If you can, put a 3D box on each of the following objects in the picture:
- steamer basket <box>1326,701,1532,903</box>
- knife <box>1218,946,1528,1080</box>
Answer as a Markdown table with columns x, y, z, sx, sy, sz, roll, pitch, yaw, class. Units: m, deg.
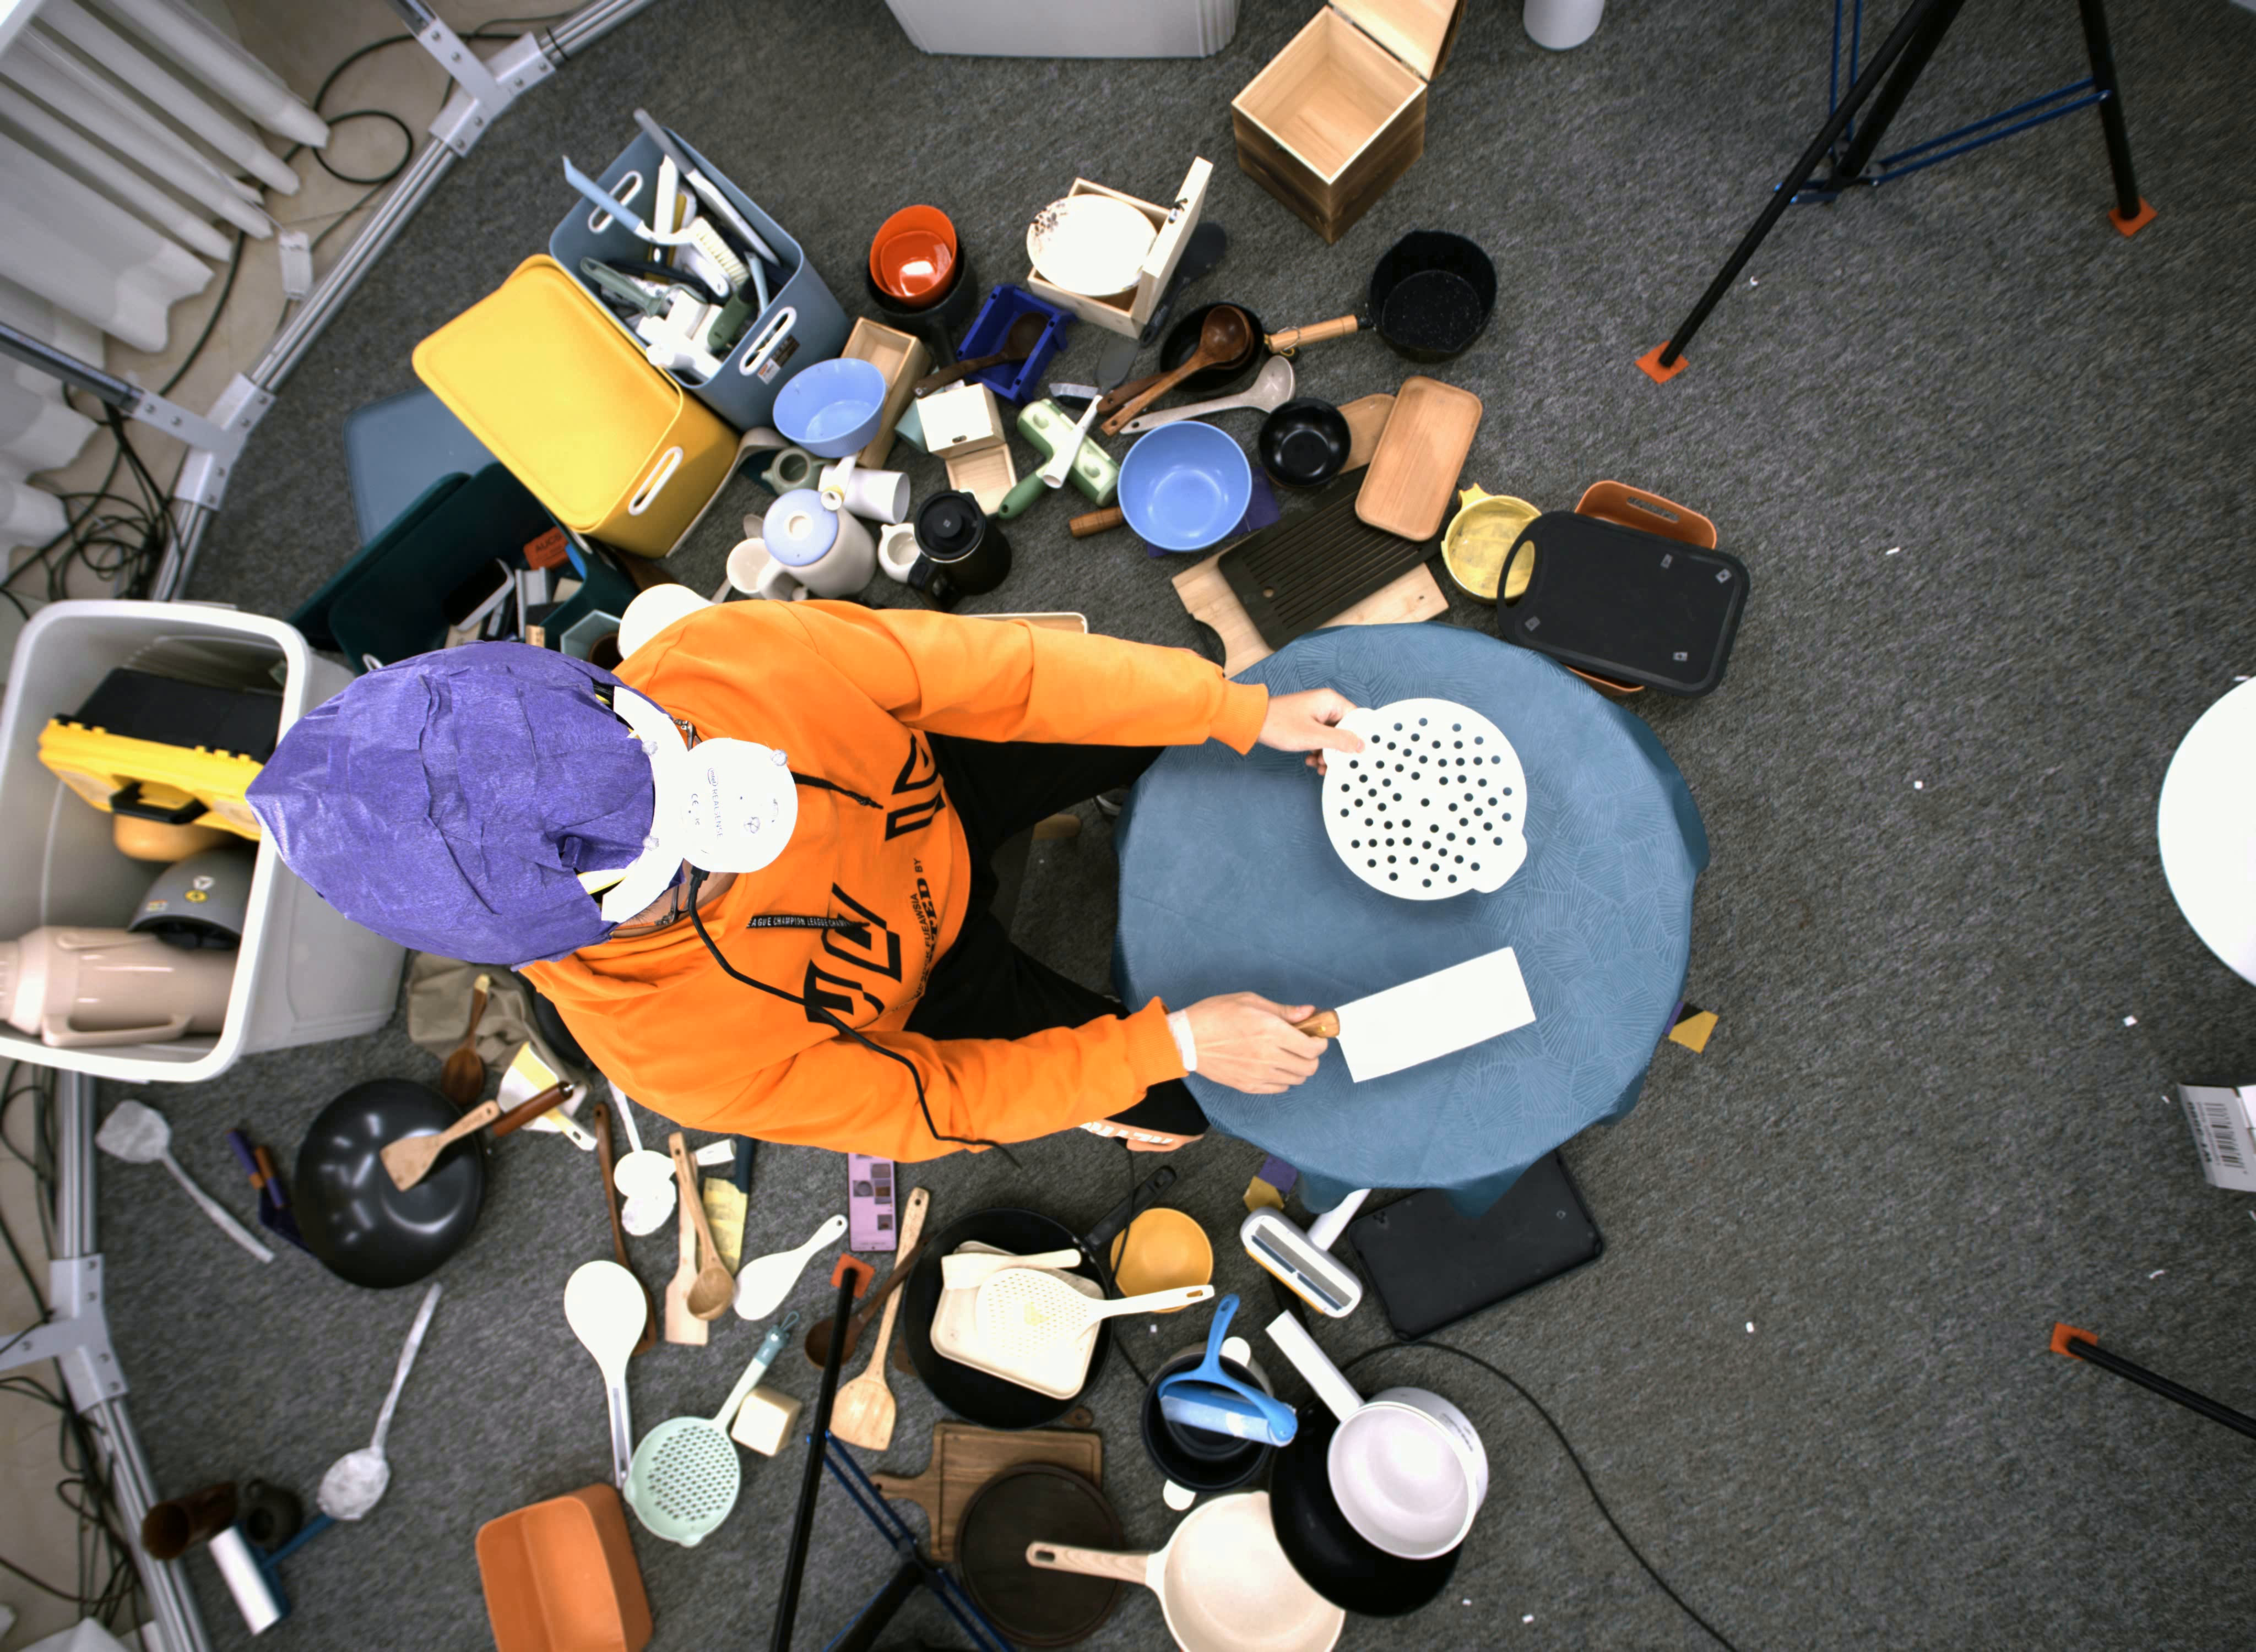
| x | y | z | sx | sy | sz | roll | pitch | yaw | class |
| --- | --- | --- | --- | --- | --- | --- | --- | --- | --- |
| 0.305 | -0.025 | 1.396 | 0.230 | 0.069 | 0.204 | 41 | 101 | 10 | steamer basket |
| 0.244 | 0.202 | 1.367 | 0.308 | 0.020 | 0.094 | -21 | 113 | 11 | knife |
